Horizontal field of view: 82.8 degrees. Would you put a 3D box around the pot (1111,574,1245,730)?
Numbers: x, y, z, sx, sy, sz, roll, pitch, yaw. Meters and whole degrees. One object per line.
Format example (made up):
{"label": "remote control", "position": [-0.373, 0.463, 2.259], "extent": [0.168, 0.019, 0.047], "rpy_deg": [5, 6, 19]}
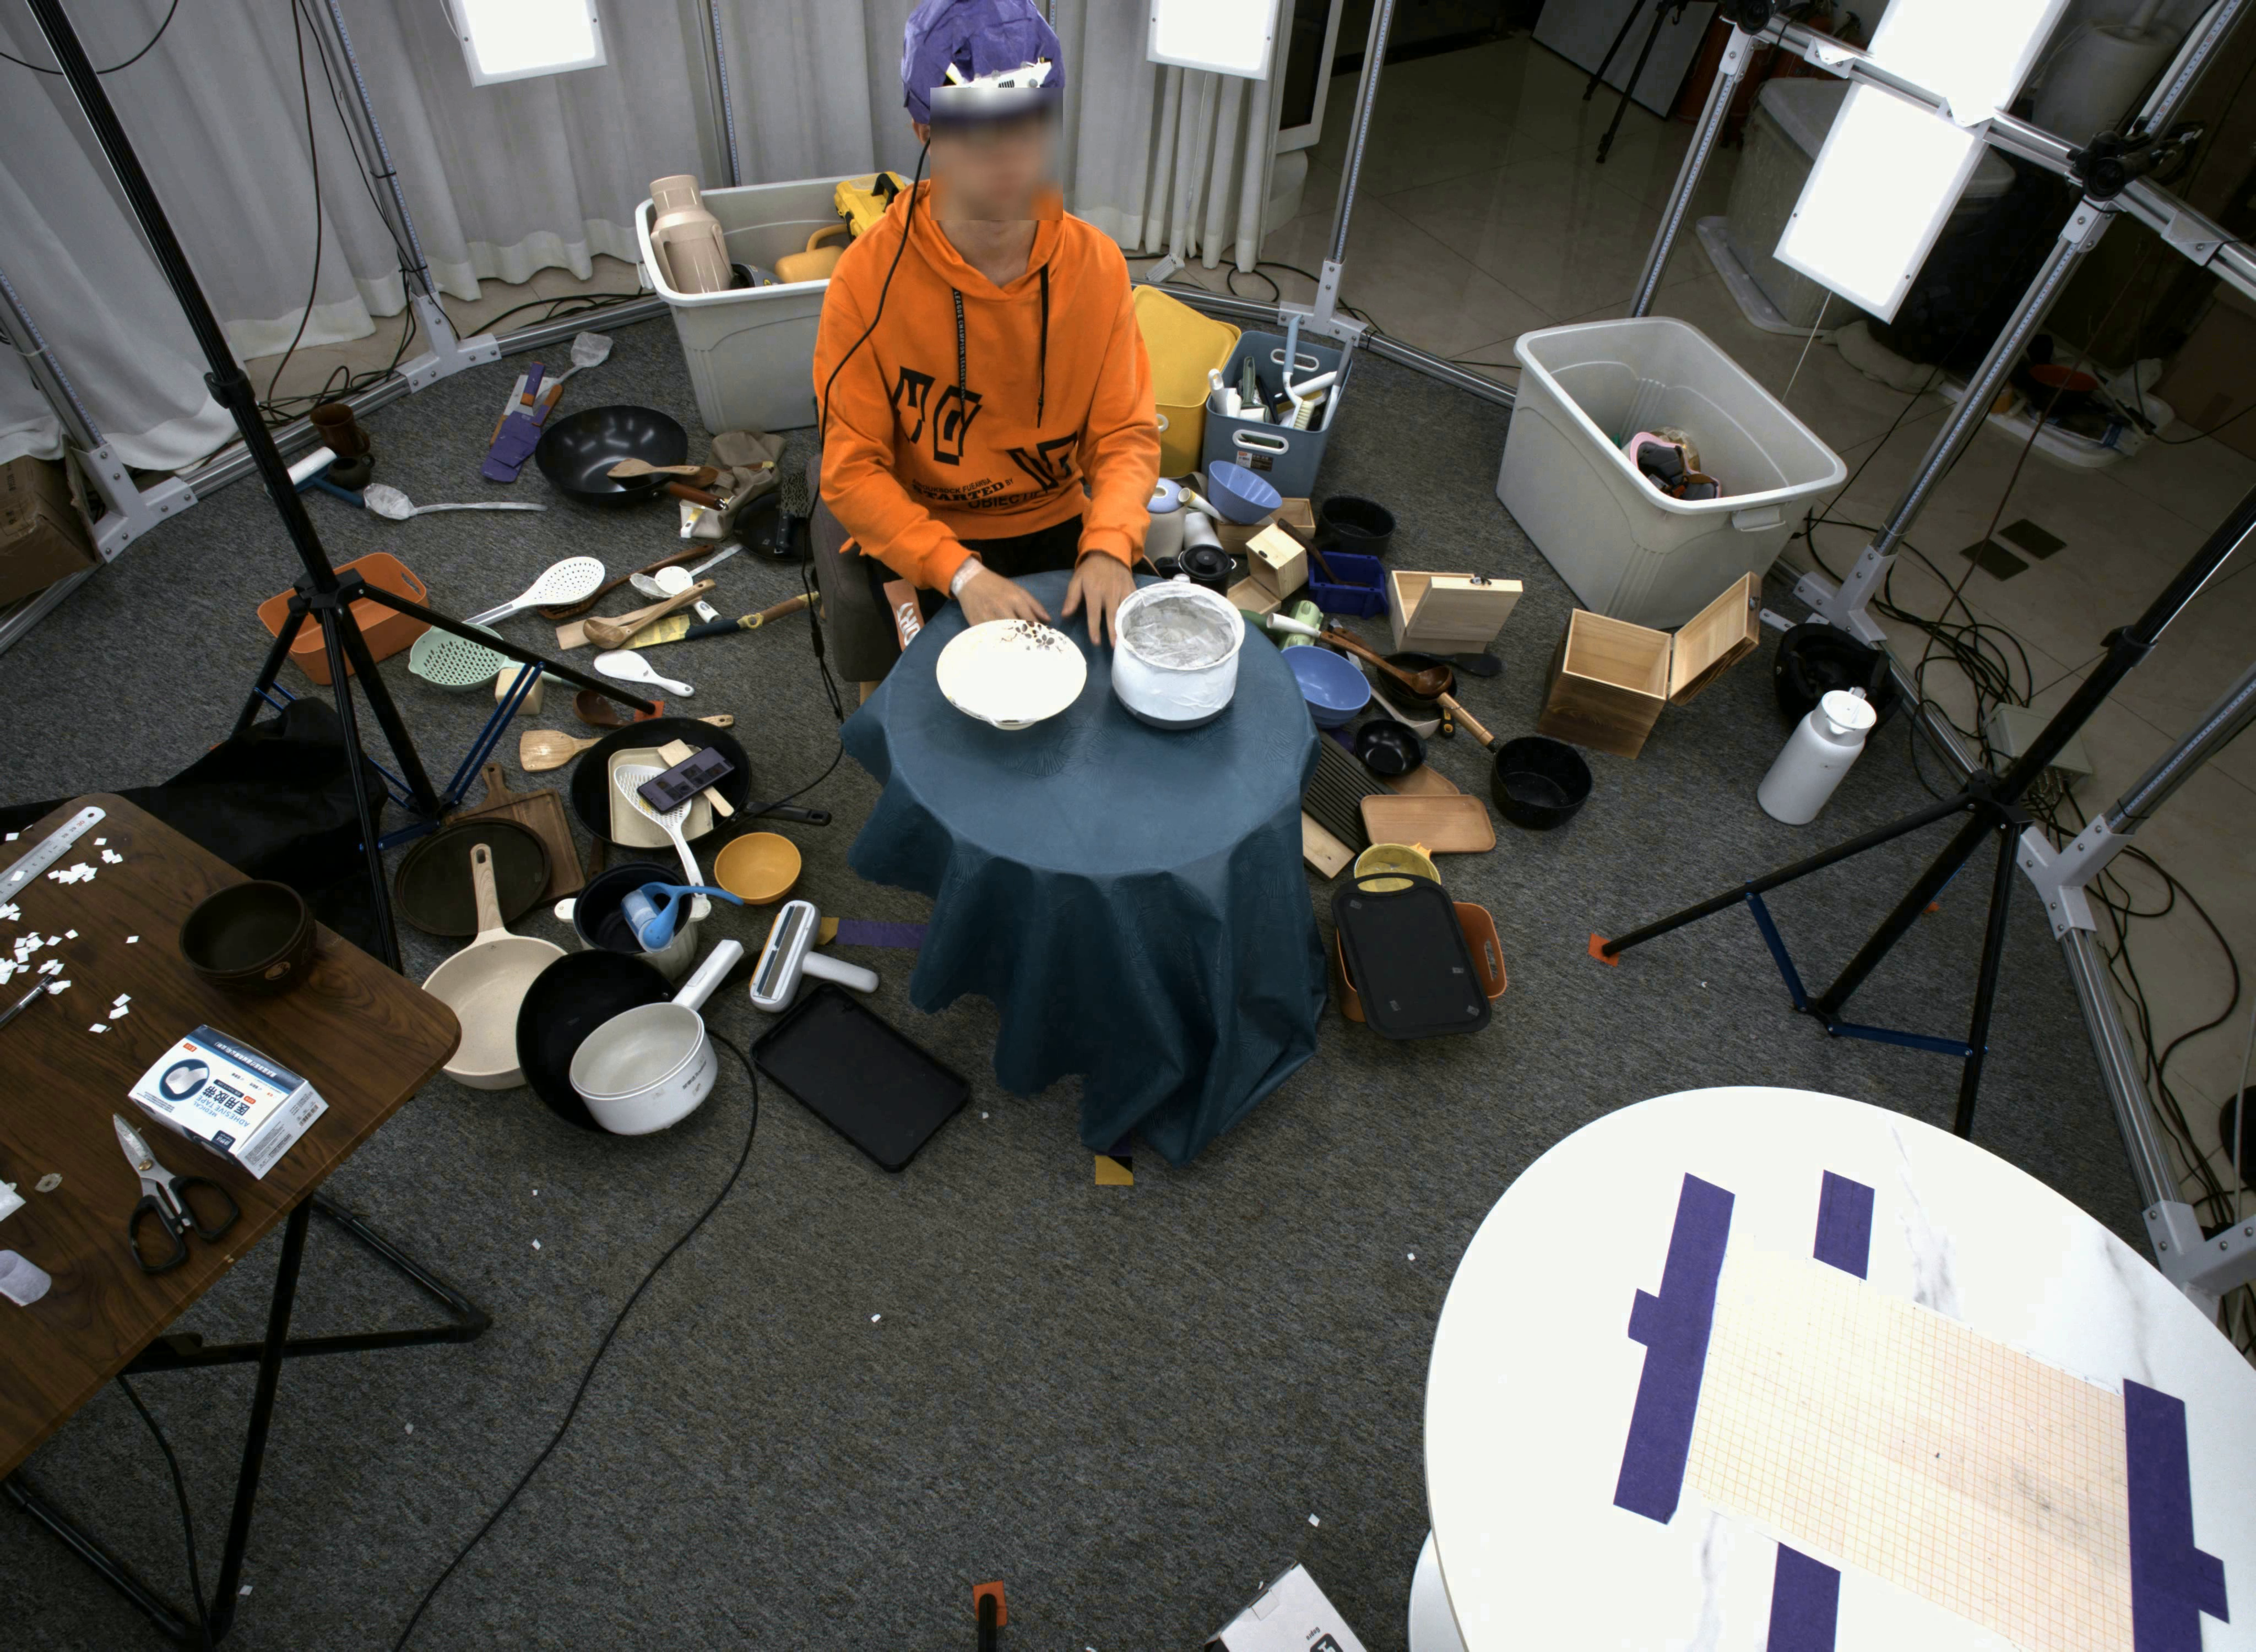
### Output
{"label": "pot", "position": [0.067, -0.254, 1.805], "extent": [0.178, 0.133, 0.239], "rpy_deg": [4, 49, -2]}

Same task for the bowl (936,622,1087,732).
{"label": "bowl", "position": [-0.160, -0.188, 1.773], "extent": [0.204, 0.076, 0.209], "rpy_deg": [1, 47, -2]}
